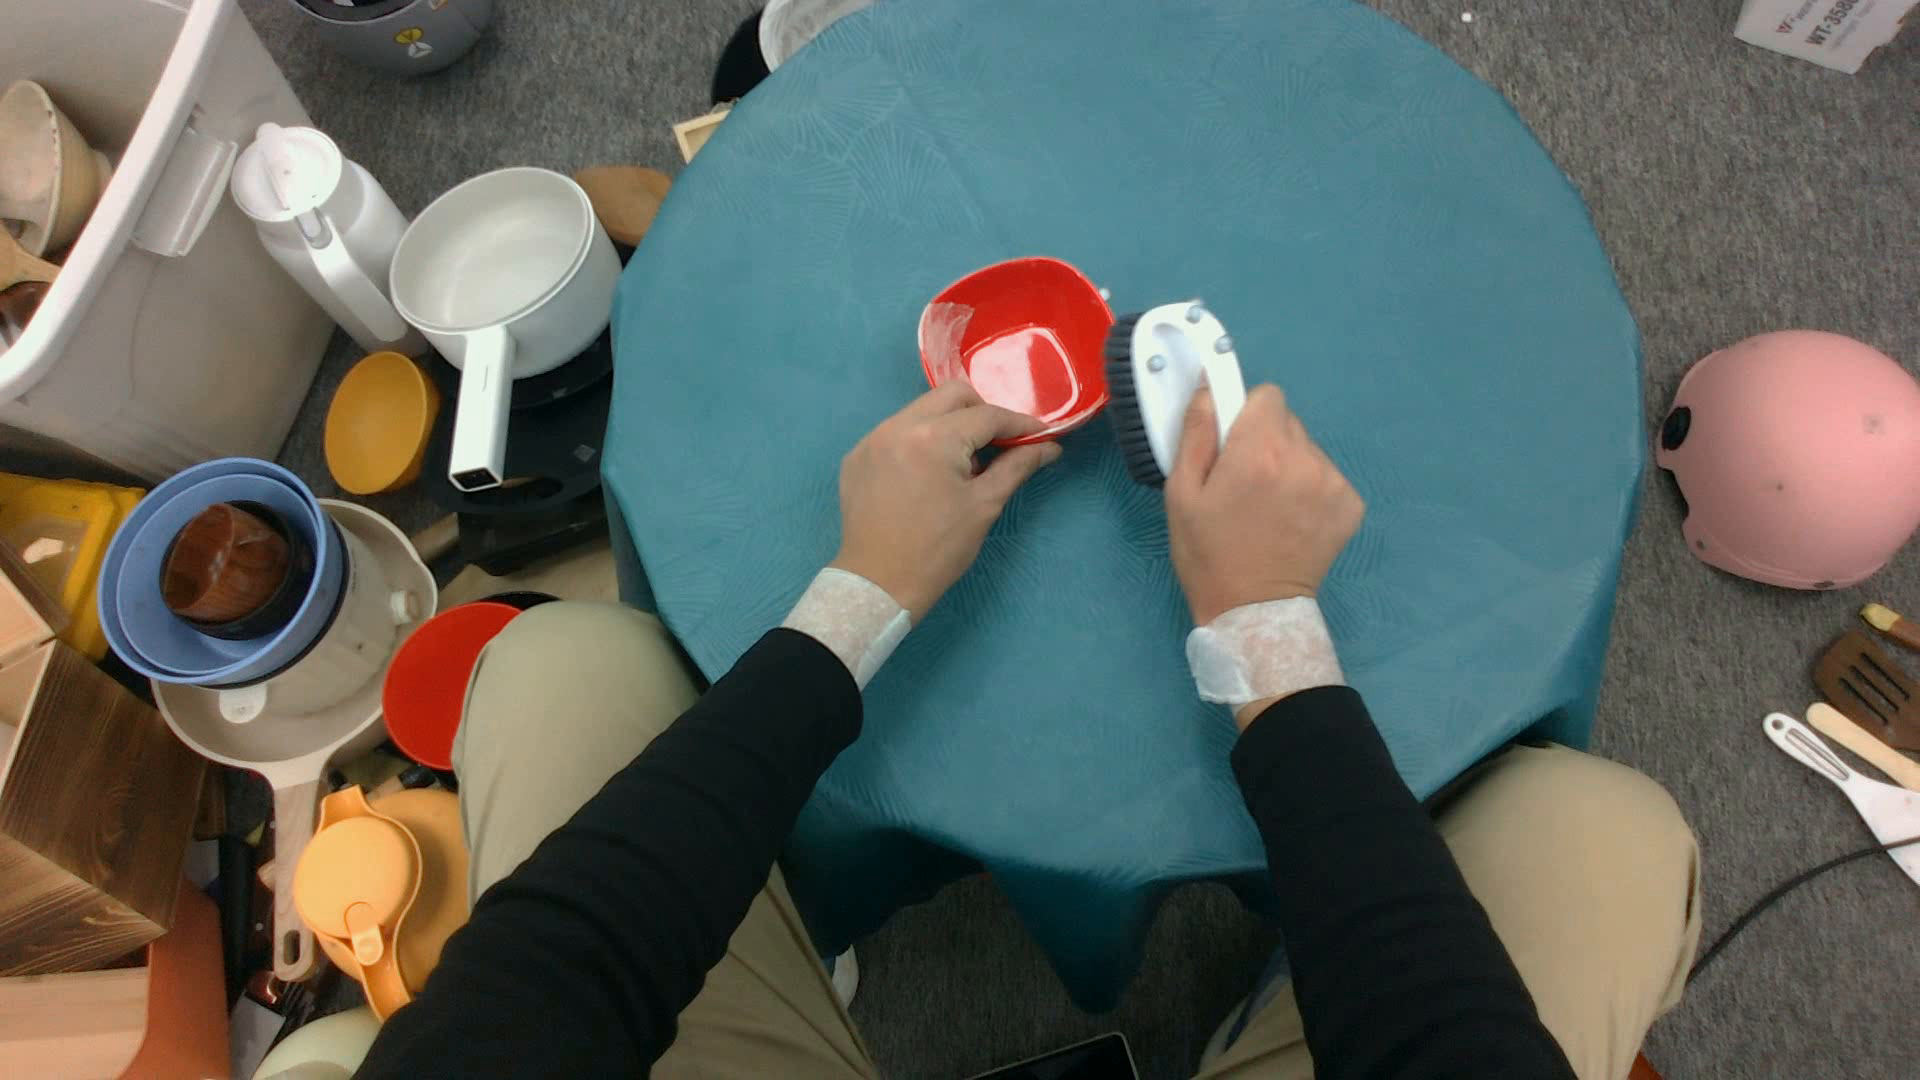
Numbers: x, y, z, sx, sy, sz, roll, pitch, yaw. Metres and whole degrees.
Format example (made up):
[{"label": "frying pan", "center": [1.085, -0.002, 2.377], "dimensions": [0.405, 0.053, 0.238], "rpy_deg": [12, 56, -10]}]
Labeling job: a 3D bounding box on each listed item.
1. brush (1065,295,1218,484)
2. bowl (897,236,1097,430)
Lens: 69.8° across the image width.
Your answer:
[{"label": "brush", "center": [0.100, -0.077, 0.708], "dimensions": [0.050, 0.072, 0.099], "rpy_deg": [-21, 100, -28]}, {"label": "bowl", "center": [0.023, -0.109, 0.782], "dimensions": [0.119, 0.051, 0.119], "rpy_deg": [0, 70, 1]}]
